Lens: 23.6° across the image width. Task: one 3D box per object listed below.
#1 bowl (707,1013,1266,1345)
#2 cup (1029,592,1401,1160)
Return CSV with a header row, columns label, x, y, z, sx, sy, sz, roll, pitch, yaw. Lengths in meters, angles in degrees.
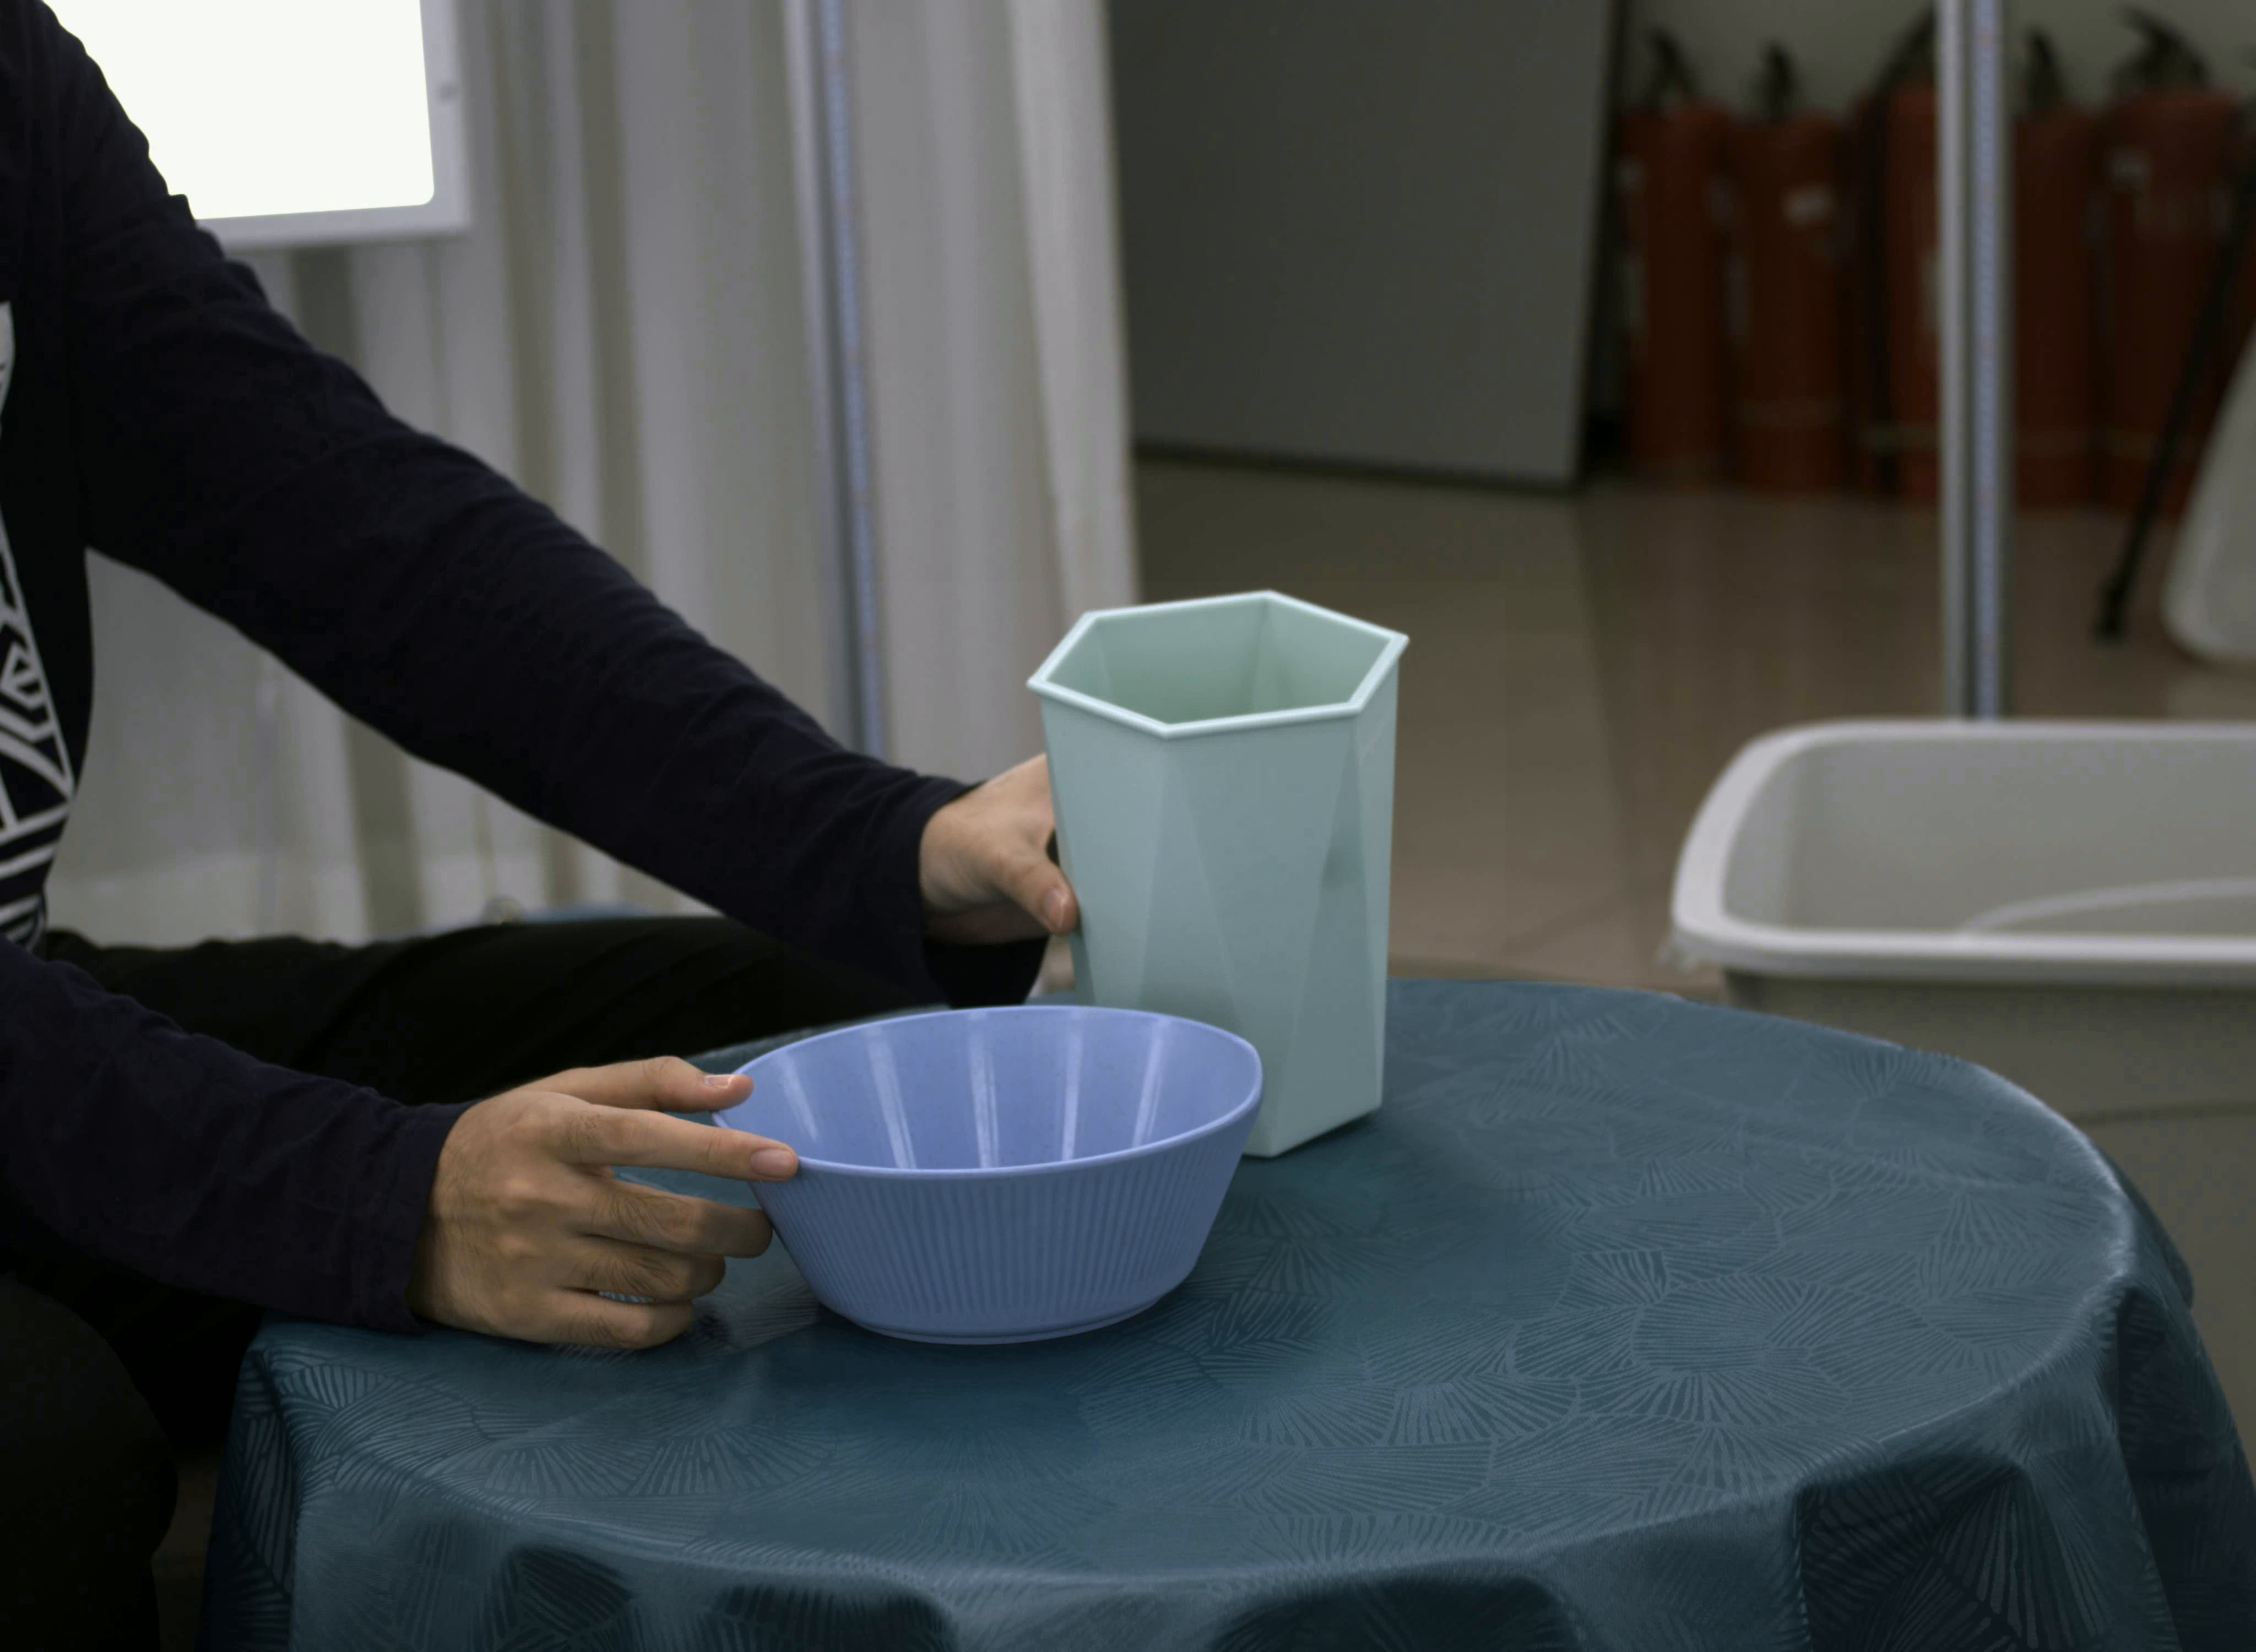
label,x,y,z,sx,sy,sz,roll,pitch,yaw
bowl,-0.042,0.112,1.679,0.174,0.071,0.176,-4,13,0
cup,0.035,0.018,1.810,0.114,0.164,0.130,1,20,15
